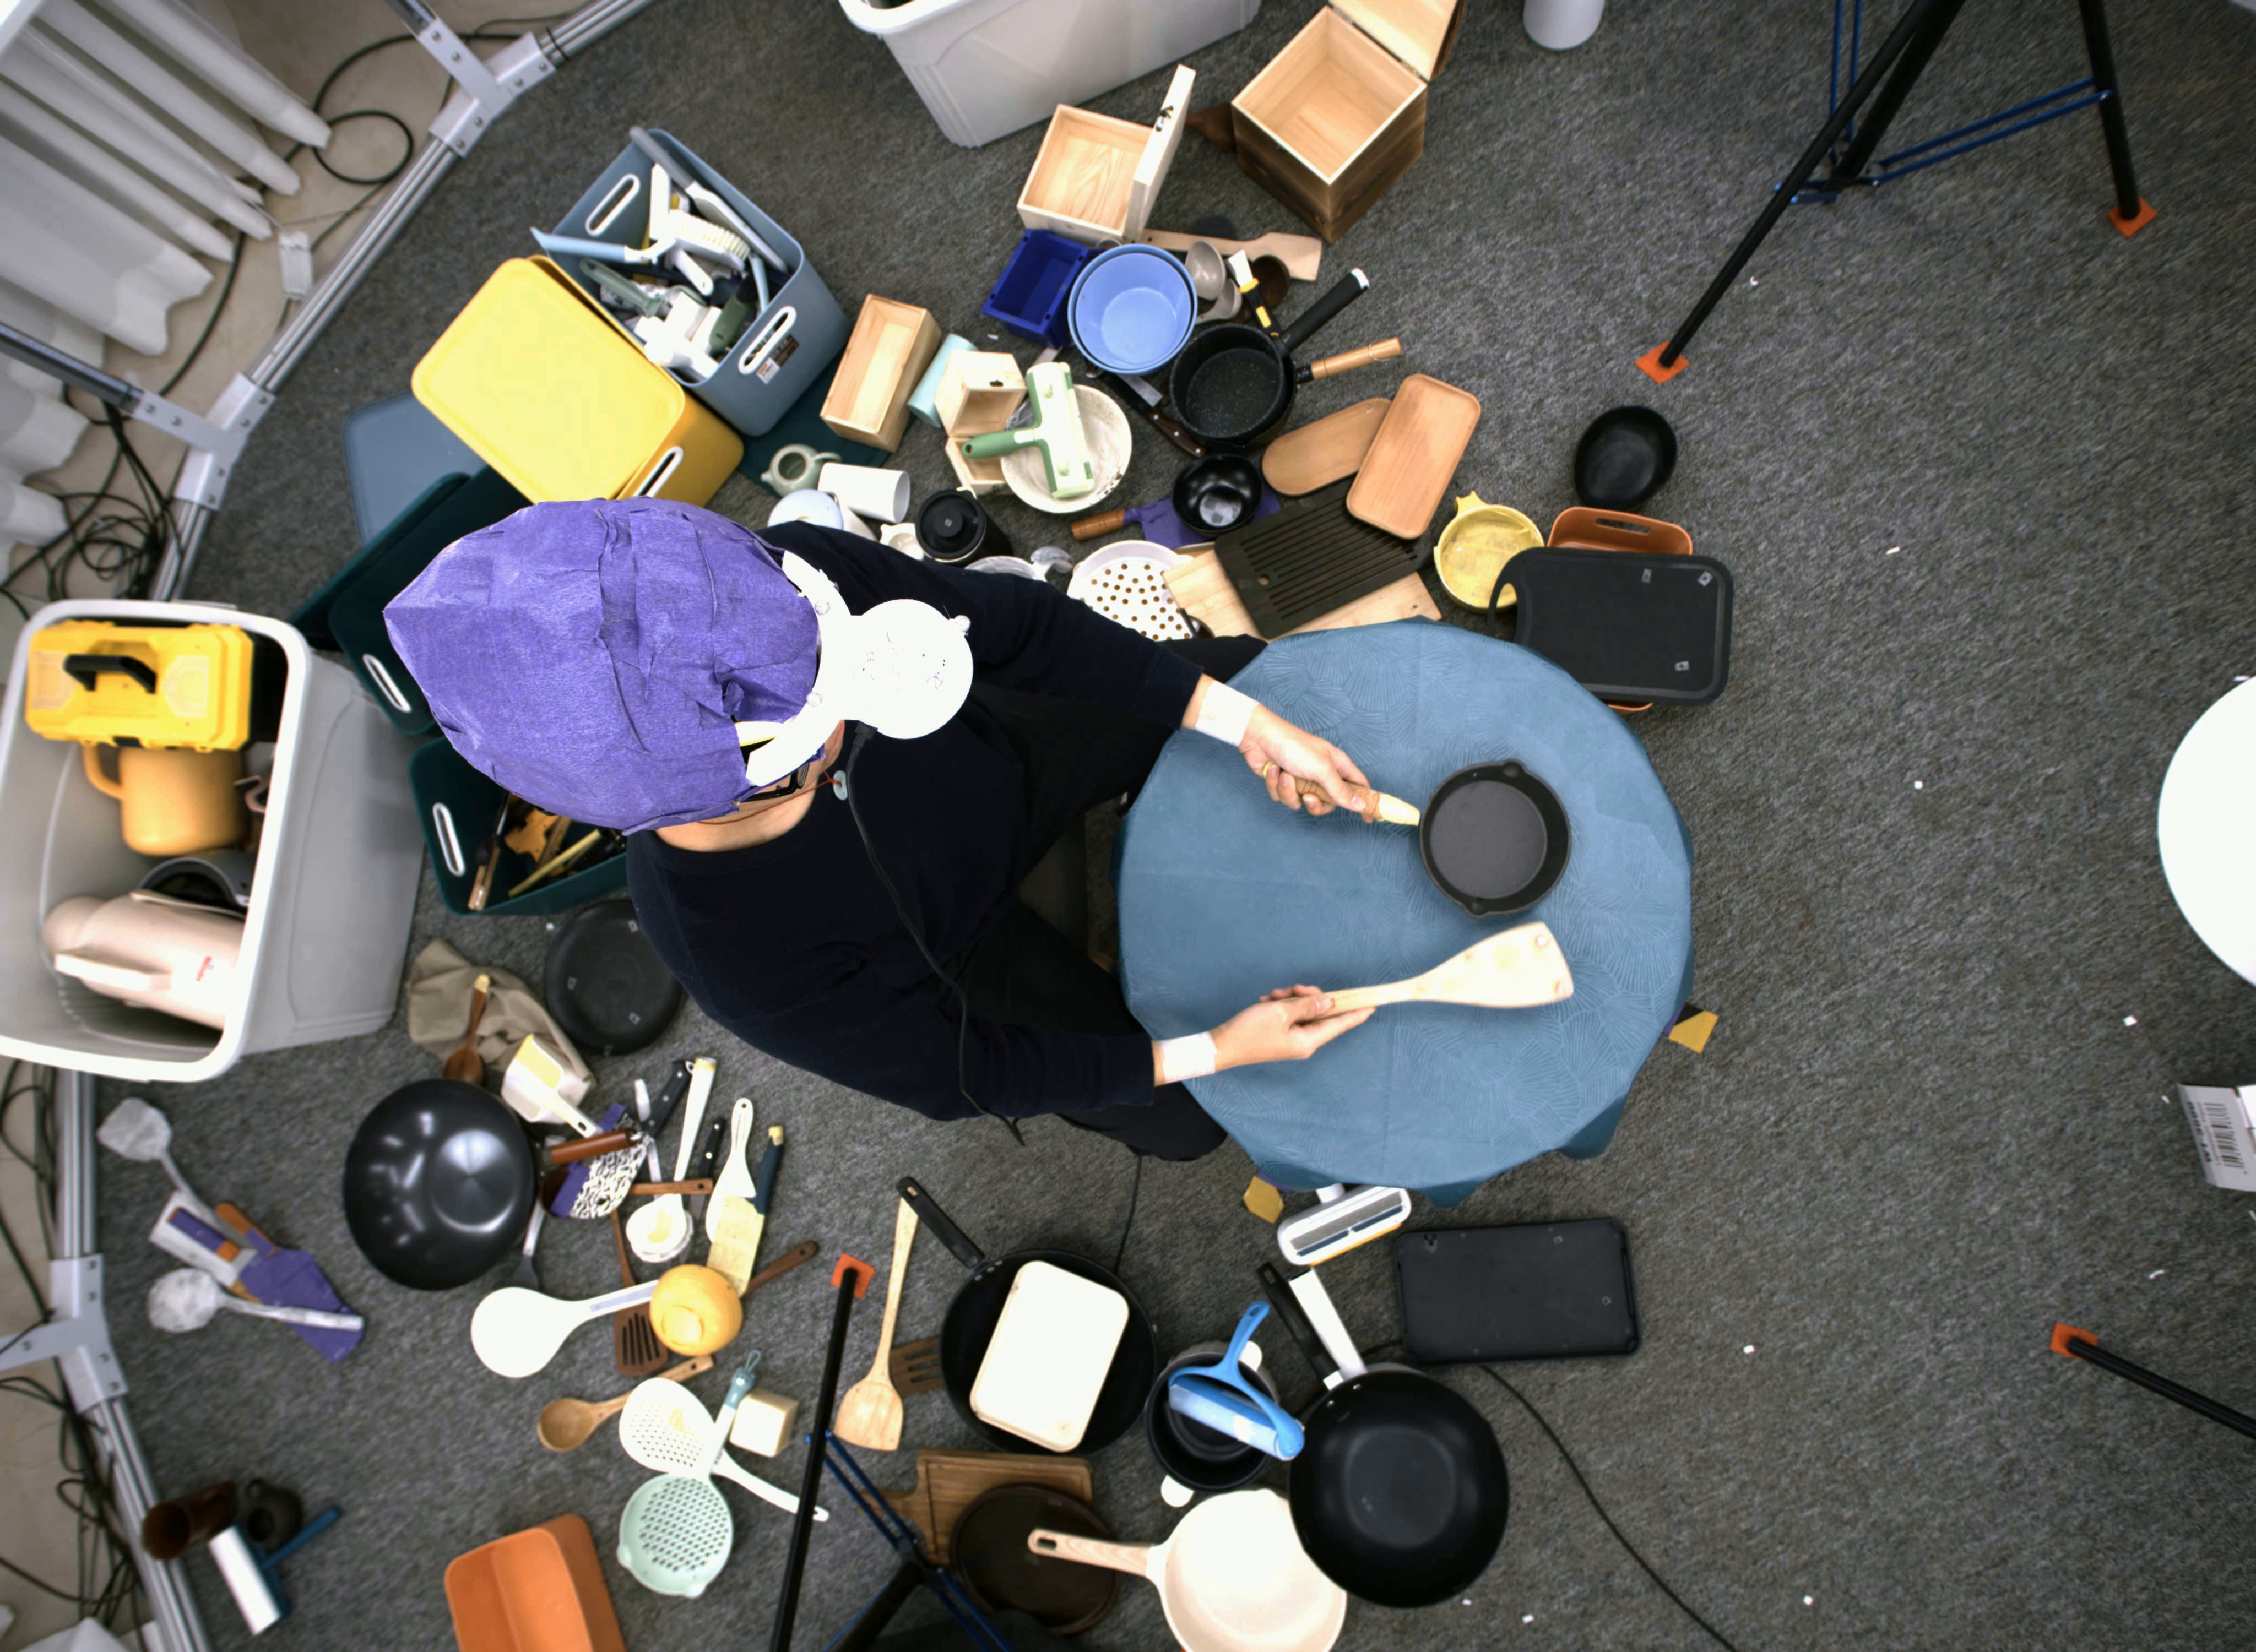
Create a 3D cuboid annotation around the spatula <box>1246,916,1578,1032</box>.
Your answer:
[{"bbox_3d":[0.278,0.158,1.382,0.329,0.016,0.079,-13,76,7],"label":"spatula"}]

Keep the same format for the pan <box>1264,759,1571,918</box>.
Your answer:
[{"bbox_3d":[0.294,-0.014,1.410,0.324,0.049,0.168,18,89,0],"label":"pan"}]
